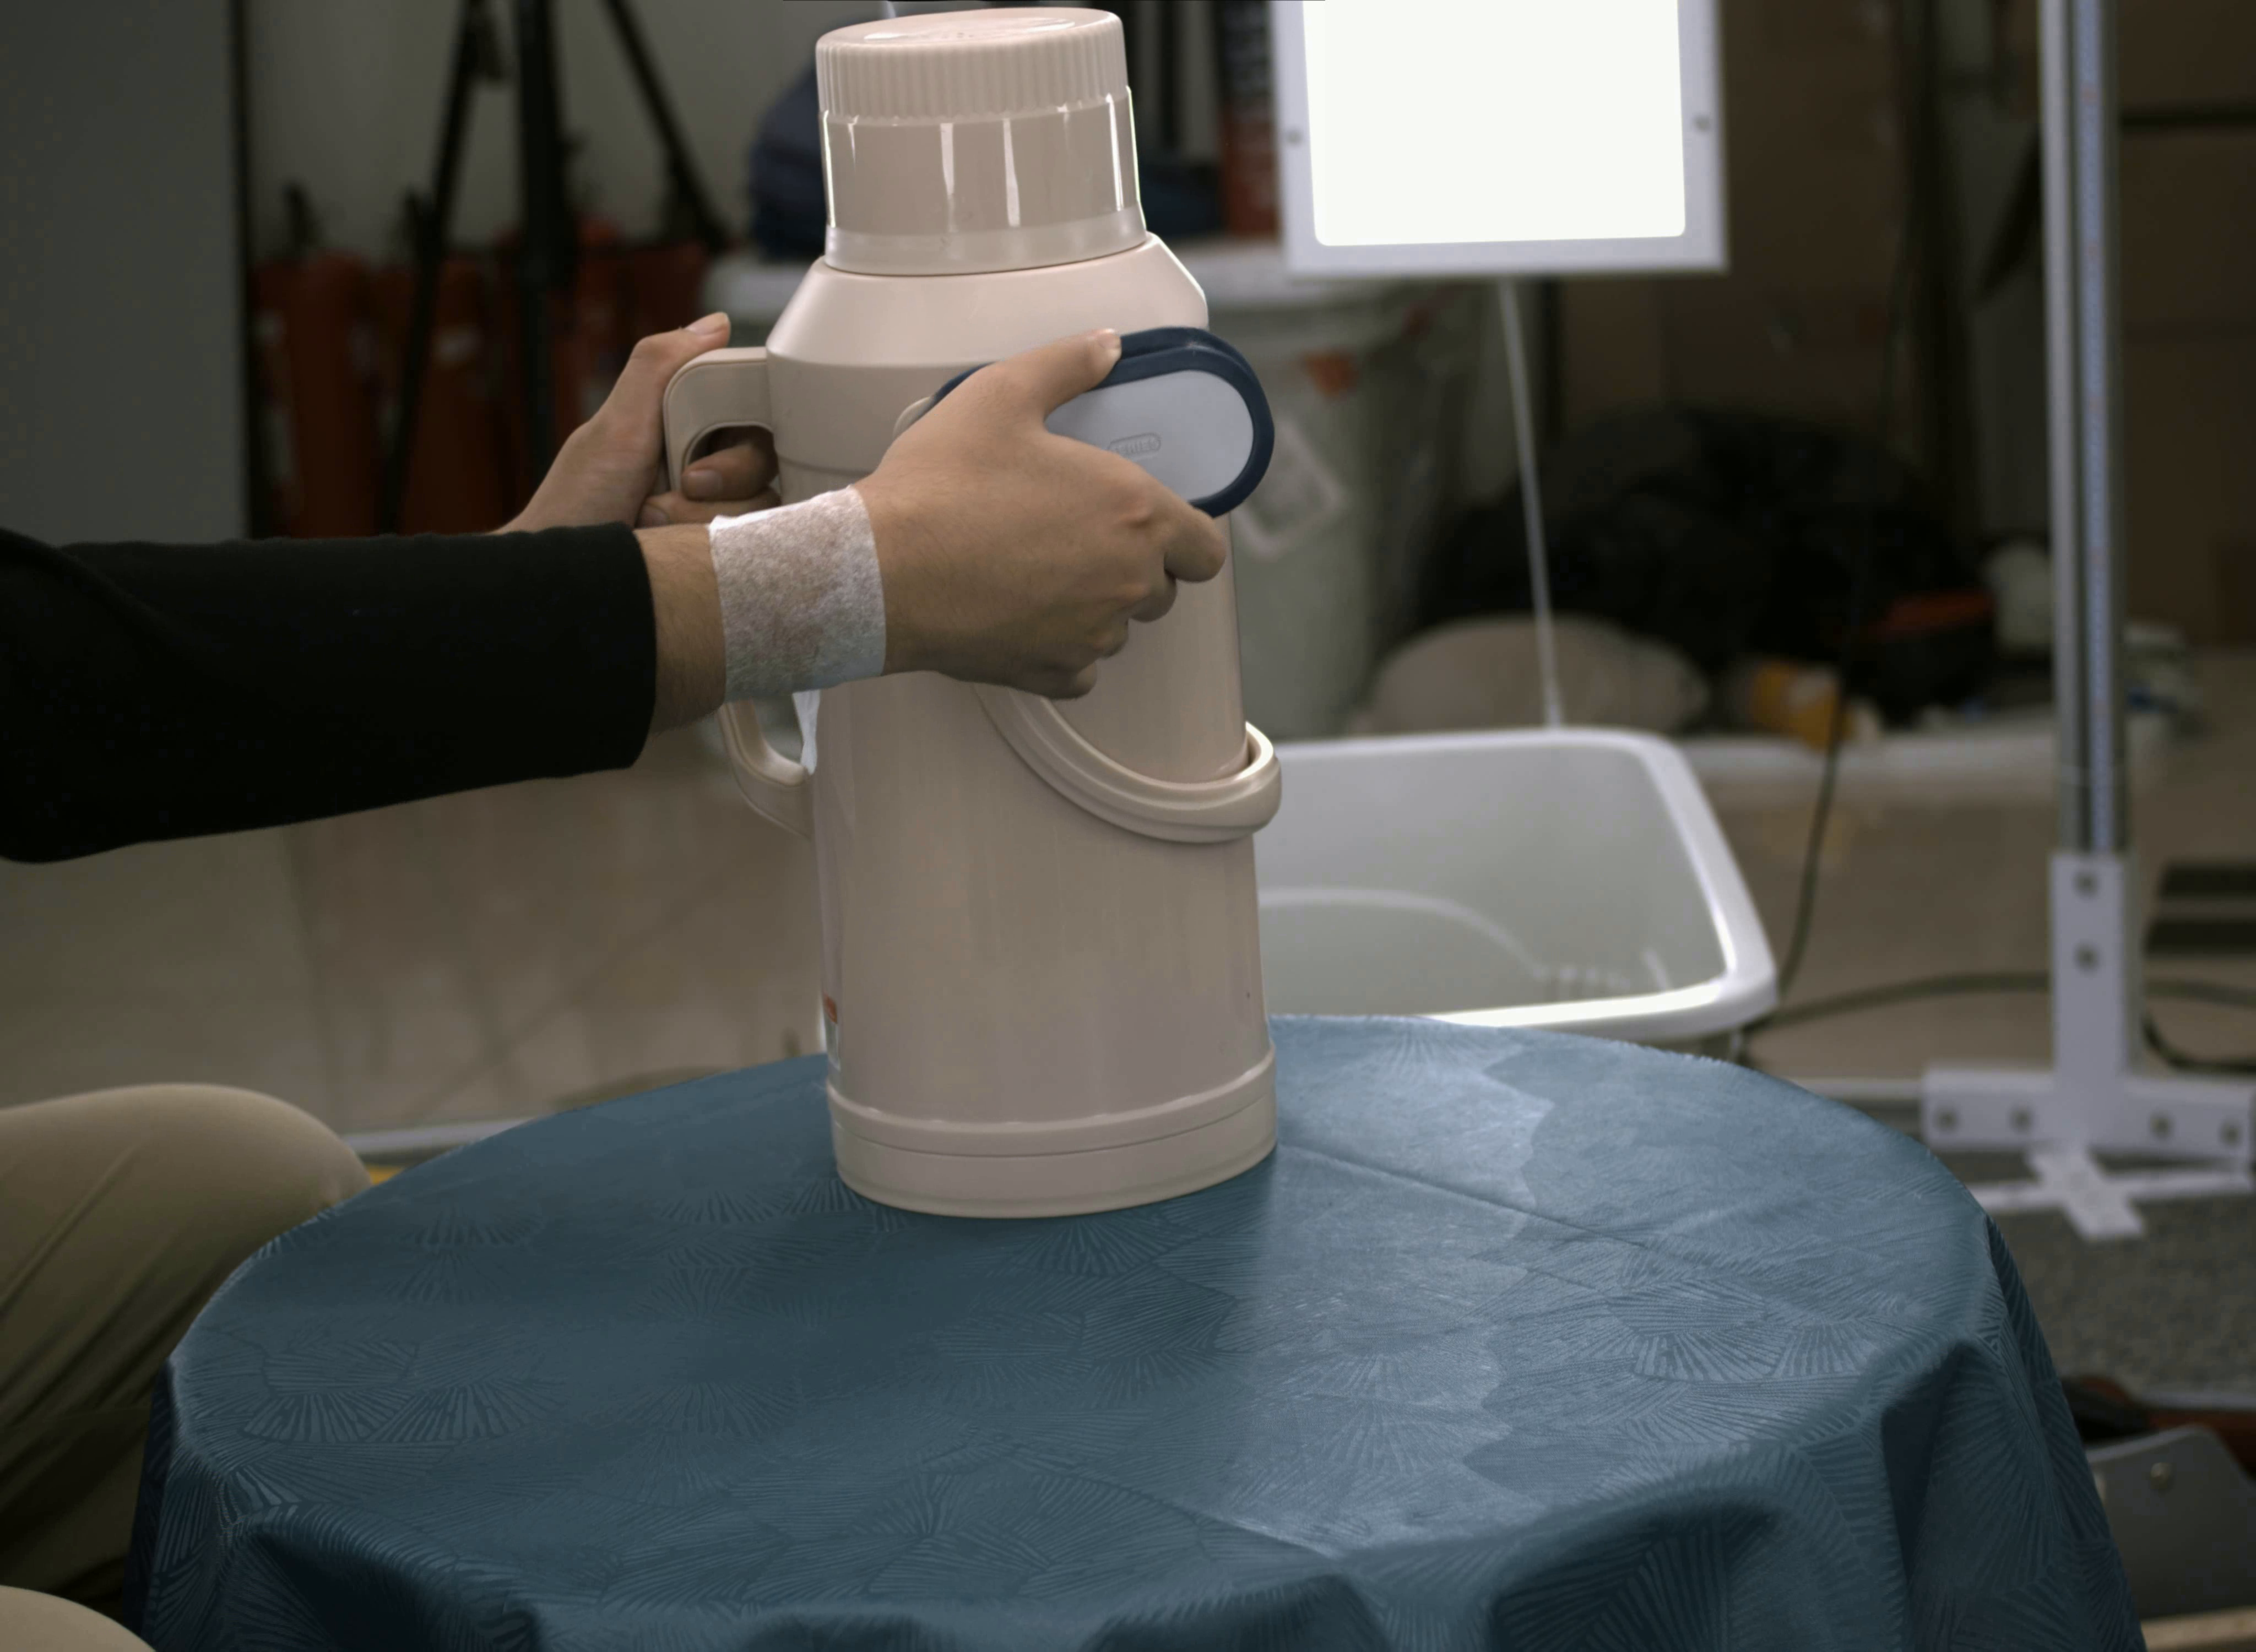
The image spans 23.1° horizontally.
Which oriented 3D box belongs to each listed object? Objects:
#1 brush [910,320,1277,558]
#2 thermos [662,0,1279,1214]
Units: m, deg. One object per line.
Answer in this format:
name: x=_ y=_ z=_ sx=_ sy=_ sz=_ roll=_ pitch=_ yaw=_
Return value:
brush: x=-0.011 y=-0.126 z=1.787 sx=0.120 sy=0.068 sz=0.061 roll=-11 pitch=12 yaw=-7
thermos: x=-0.054 y=-0.077 z=1.914 sx=0.209 sy=0.408 sz=0.173 roll=-1 pitch=16 yaw=14
